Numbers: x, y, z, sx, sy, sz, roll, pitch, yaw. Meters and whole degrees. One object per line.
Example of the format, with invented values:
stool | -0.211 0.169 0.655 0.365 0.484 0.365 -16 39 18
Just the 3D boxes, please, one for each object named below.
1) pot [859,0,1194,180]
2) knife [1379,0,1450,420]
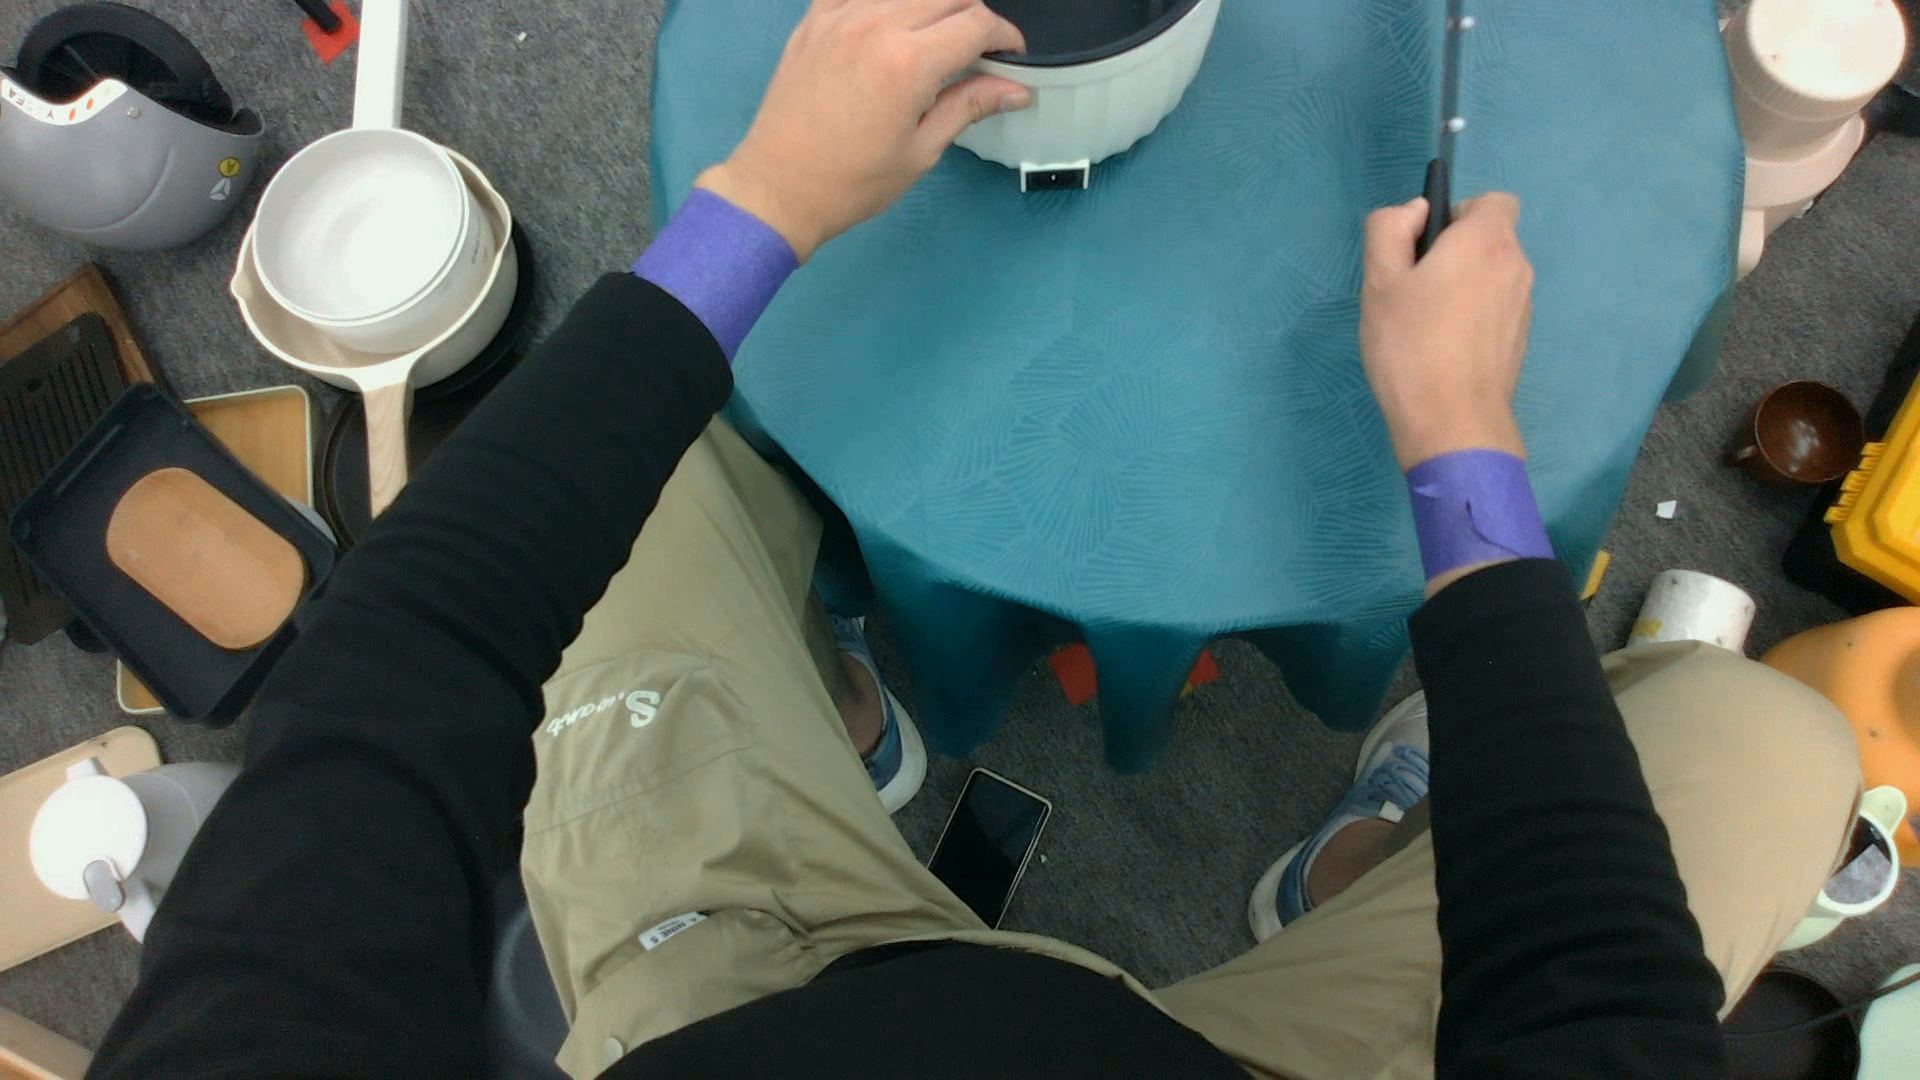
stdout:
pot | 0.033 -0.303 0.721 0.240 0.142 0.191 -4 81 0
knife | 0.239 -0.211 0.703 0.021 0.081 0.302 4 83 27
